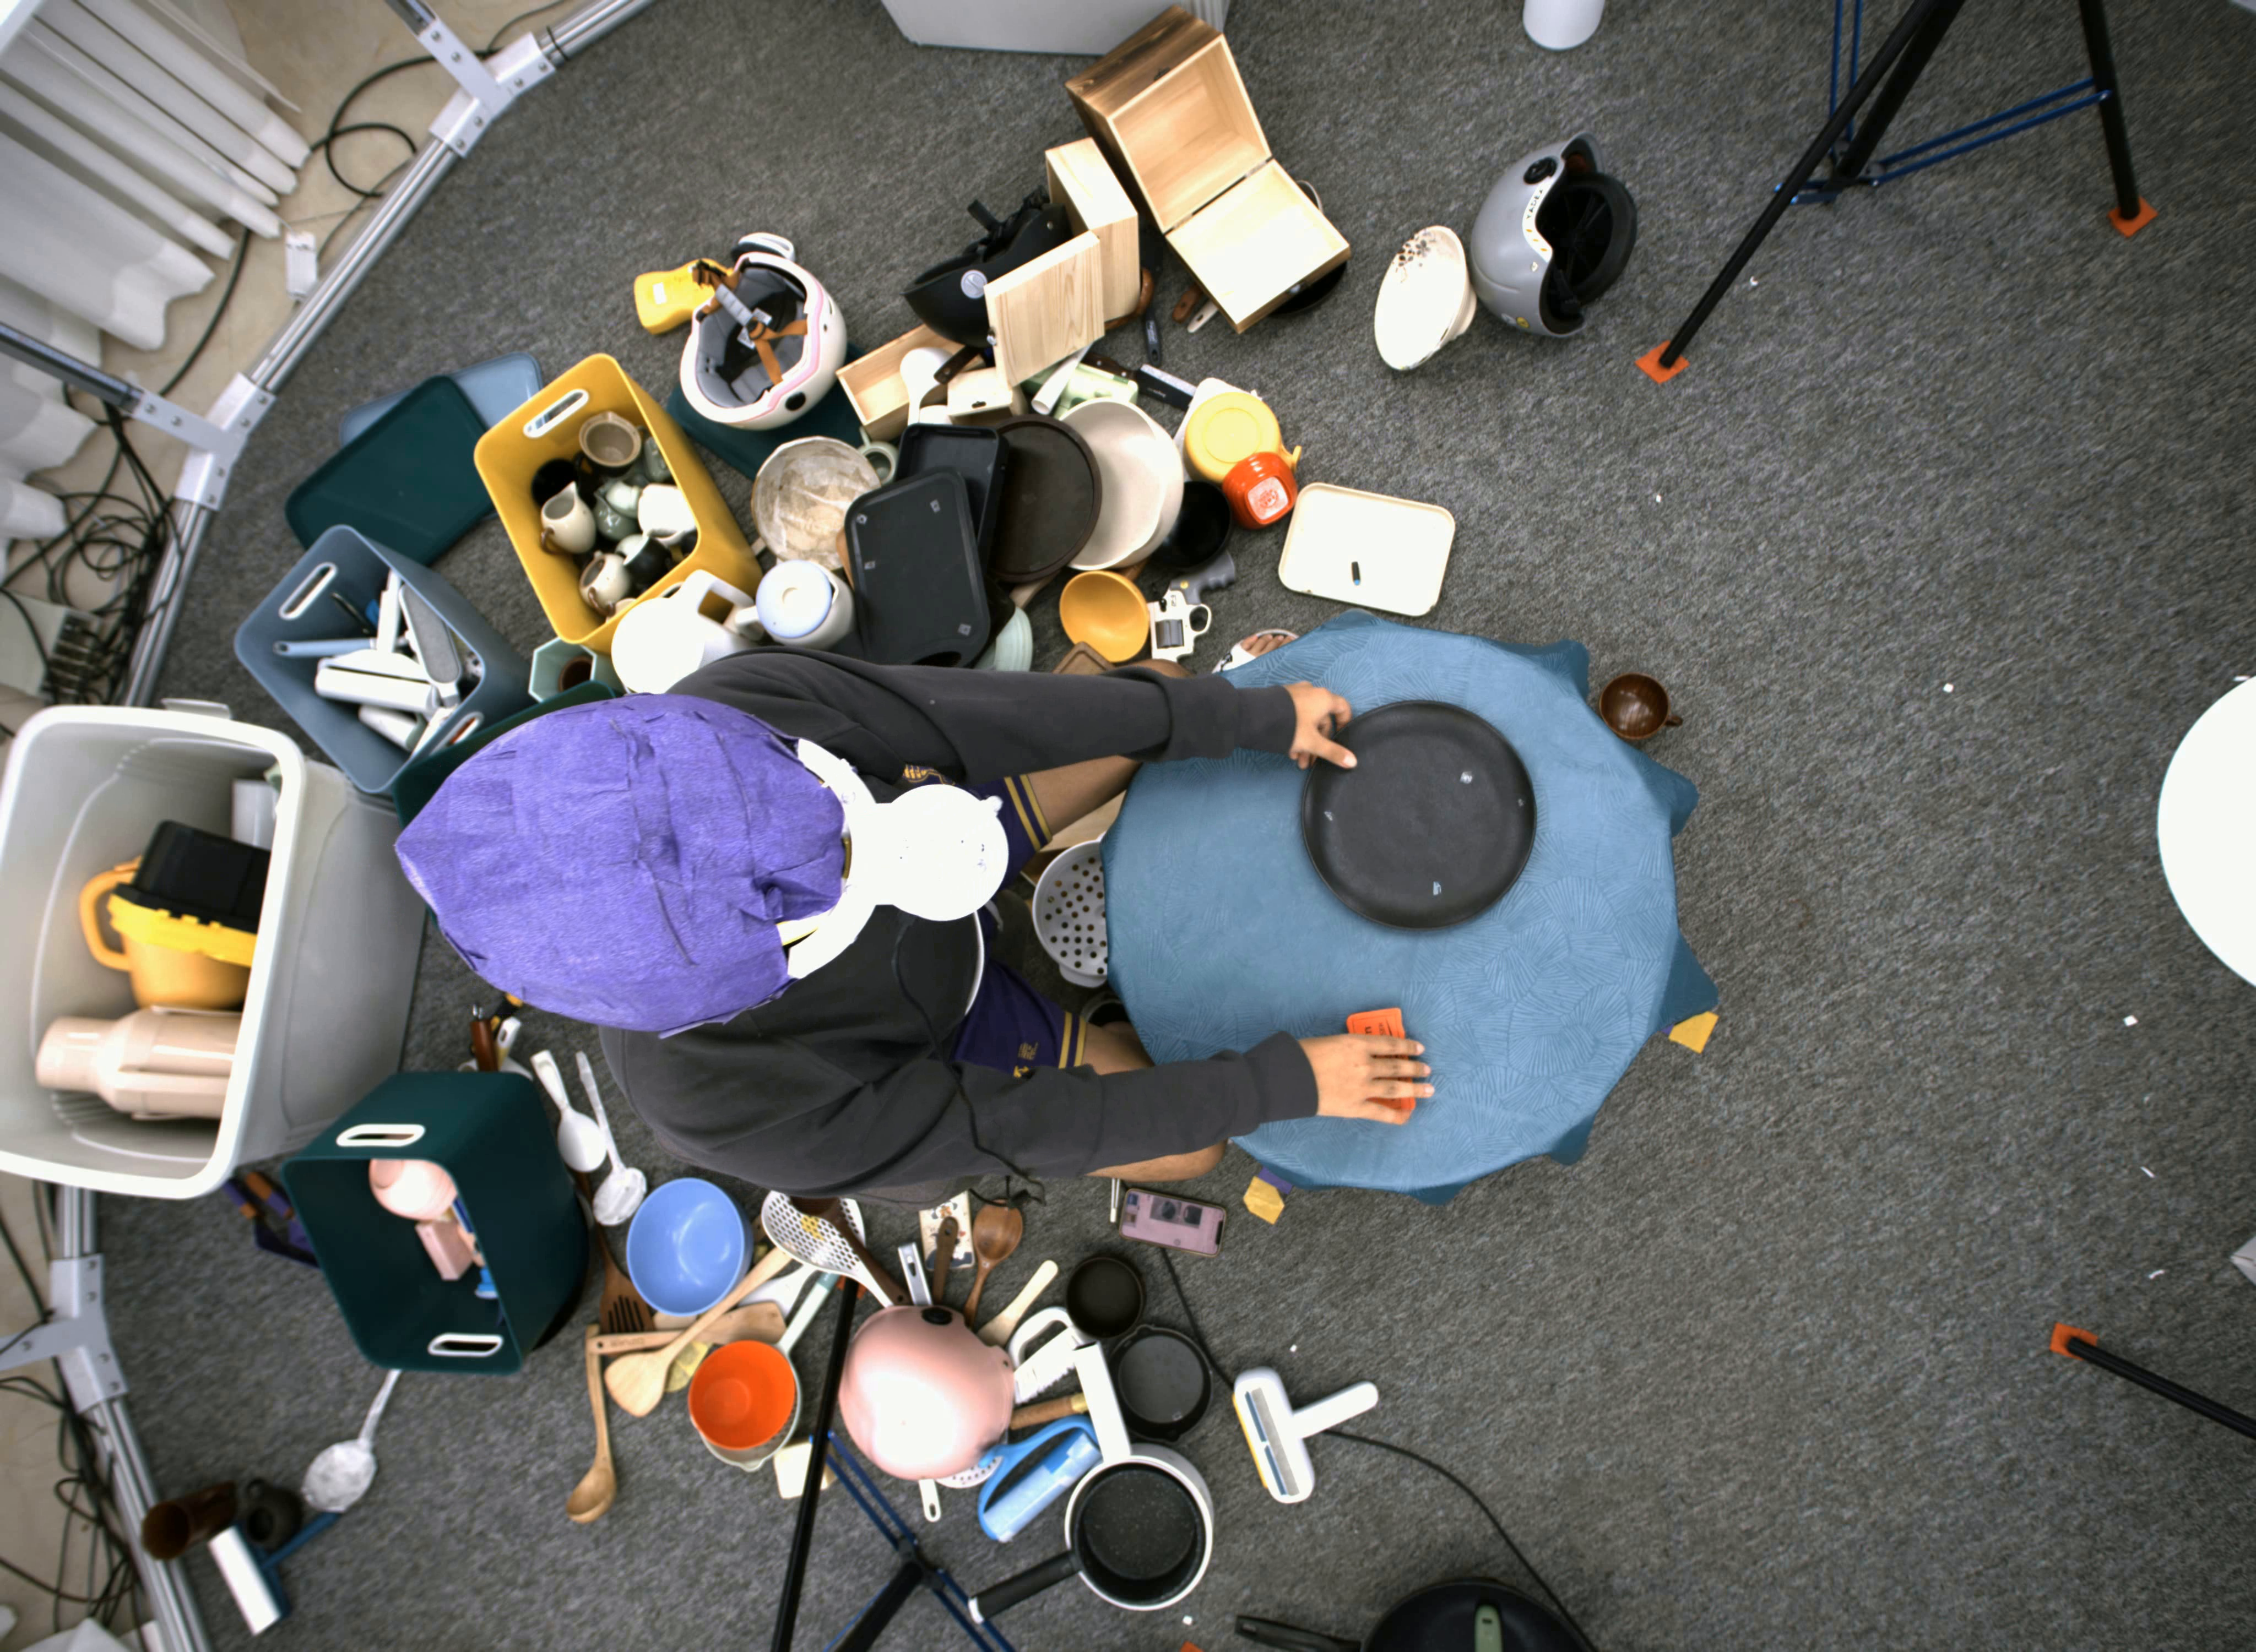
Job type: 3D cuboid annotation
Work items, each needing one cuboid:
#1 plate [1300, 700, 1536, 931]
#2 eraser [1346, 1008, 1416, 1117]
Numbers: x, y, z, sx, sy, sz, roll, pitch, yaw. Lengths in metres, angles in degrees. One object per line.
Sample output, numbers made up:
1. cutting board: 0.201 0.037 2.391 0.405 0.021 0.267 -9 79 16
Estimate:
1. plate: 0.303 -0.012 1.446 0.245 0.023 0.243 -1 87 10
2. eraser: 0.263 0.244 1.436 0.059 0.023 0.107 -10 84 8
